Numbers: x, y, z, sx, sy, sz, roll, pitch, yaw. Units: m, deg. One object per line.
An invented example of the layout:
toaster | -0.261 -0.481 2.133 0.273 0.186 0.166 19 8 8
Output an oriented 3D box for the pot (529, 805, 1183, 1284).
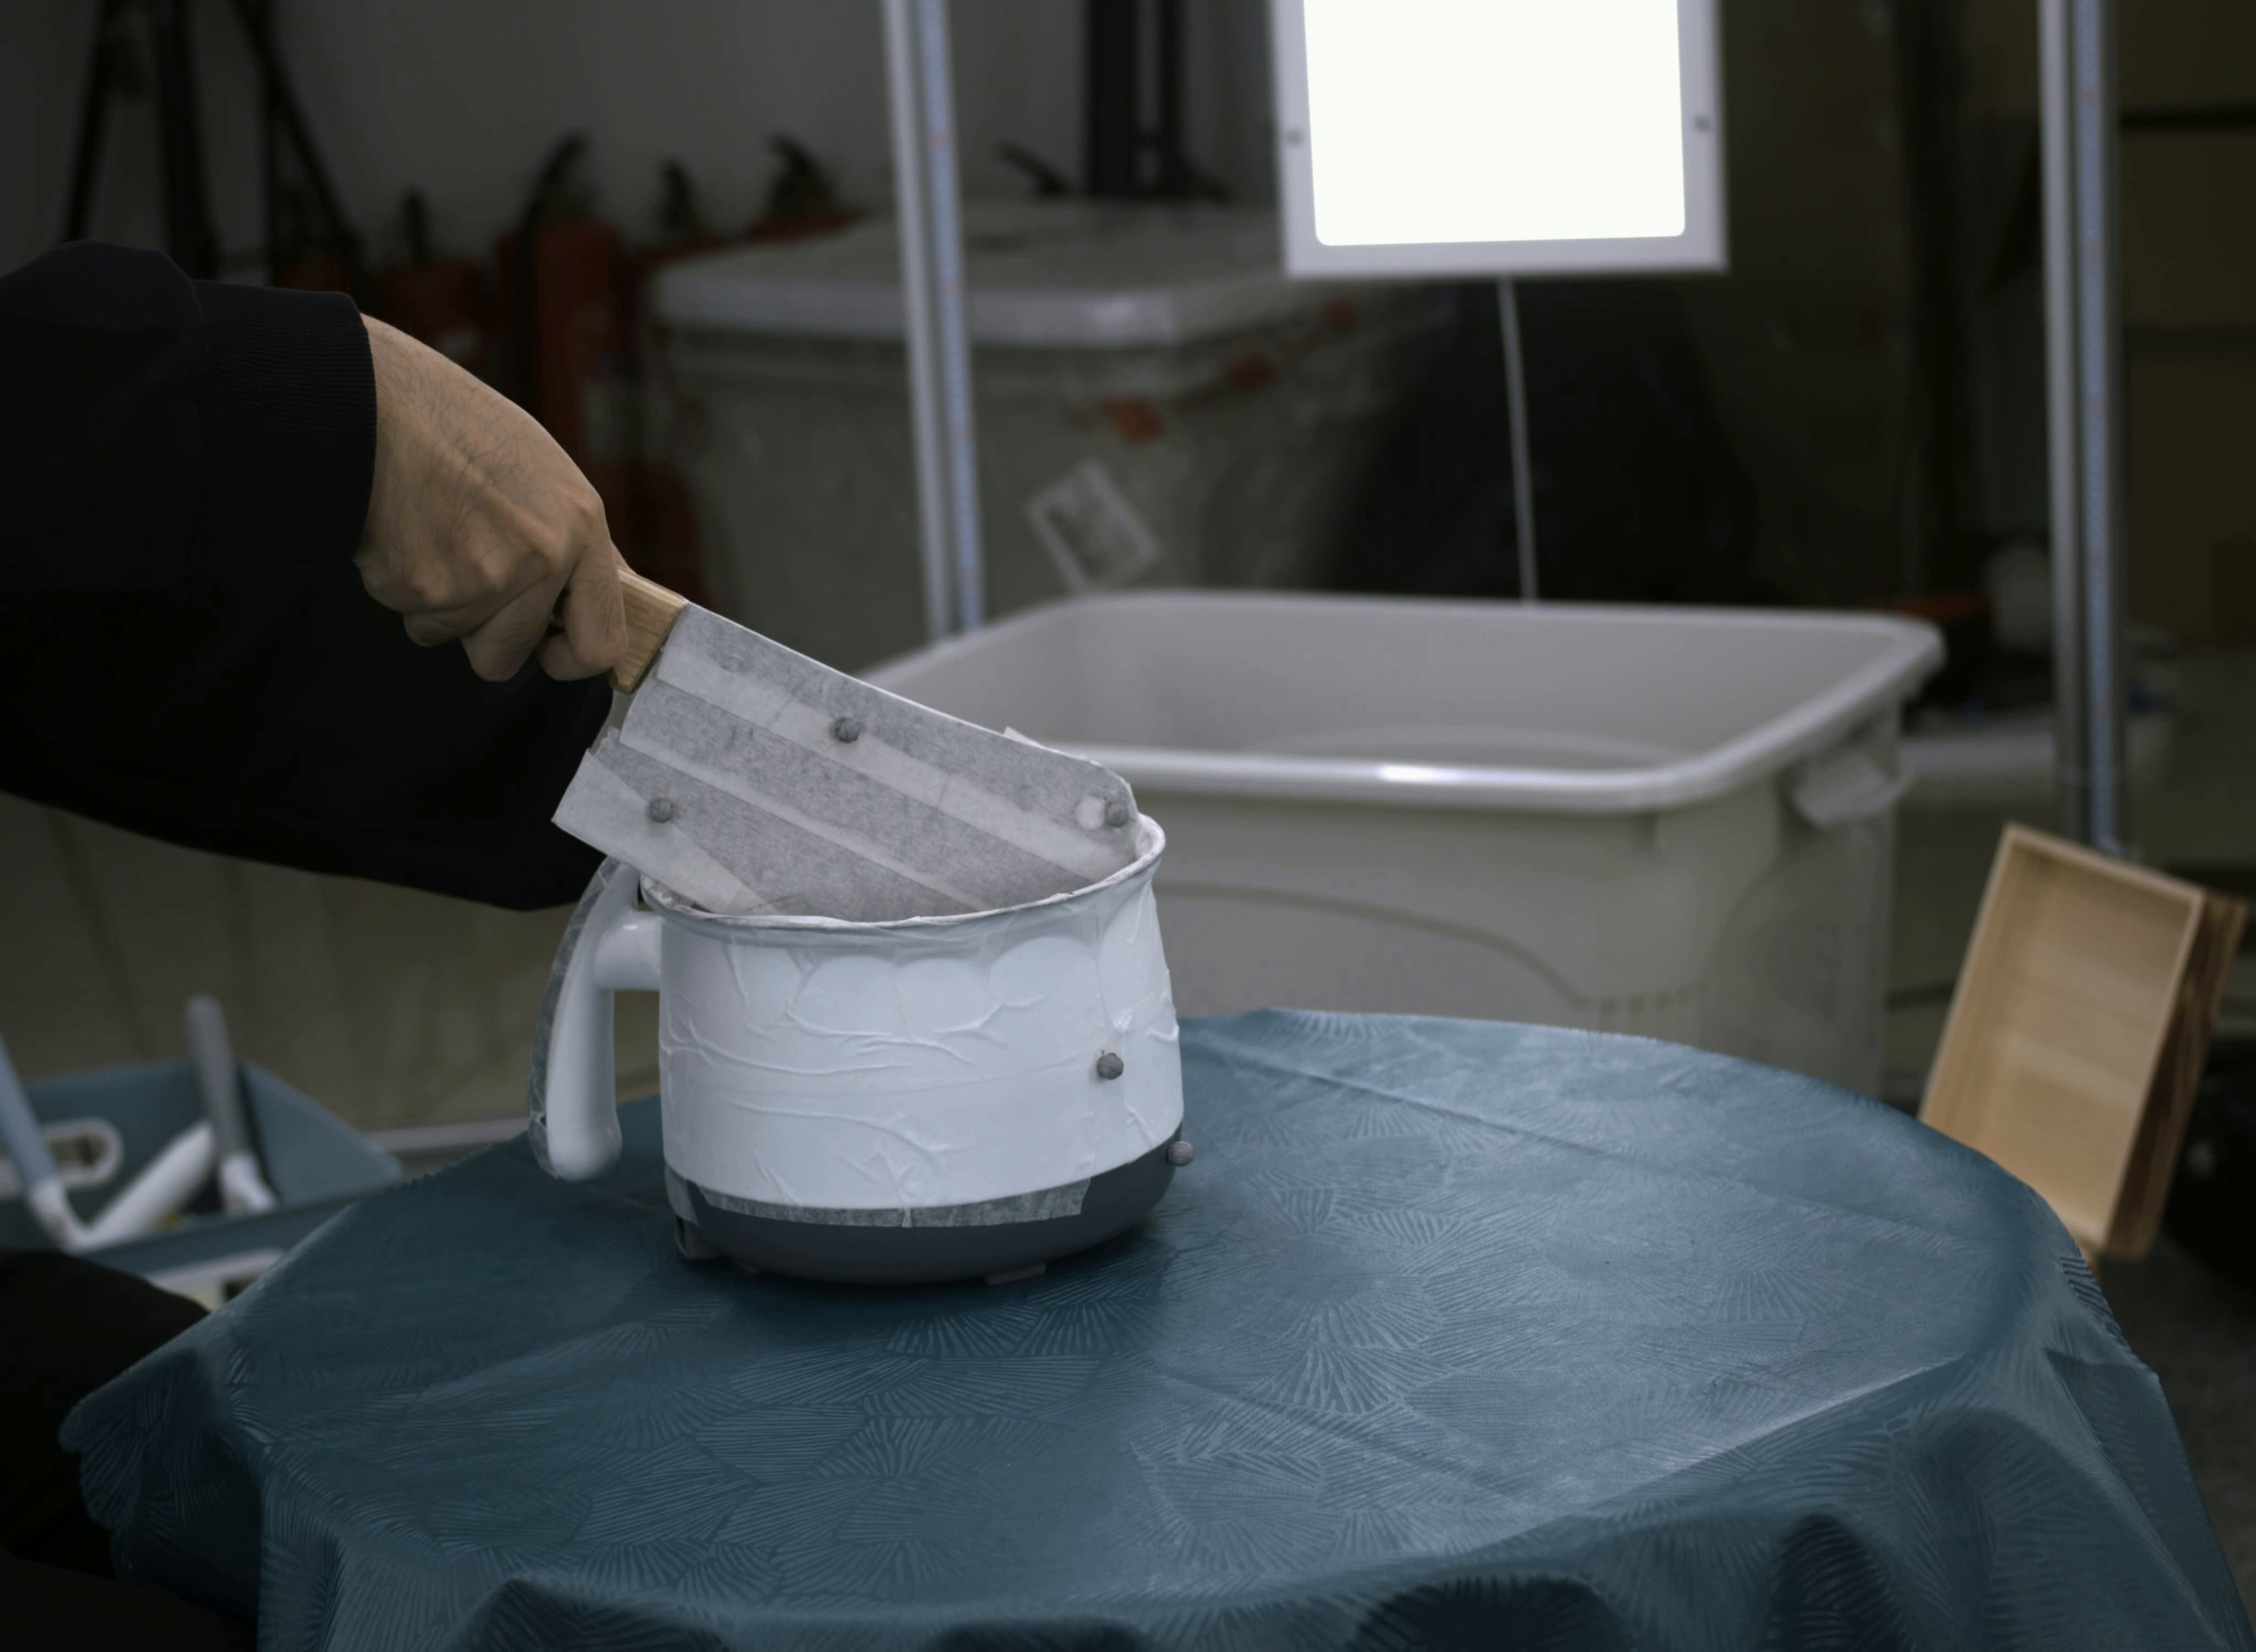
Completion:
pot | -0.097 0.070 1.871 0.237 0.137 0.176 1 14 20

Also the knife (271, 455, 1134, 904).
knife | -0.138 -0.034 1.802 0.312 0.114 0.022 30 4 -13
